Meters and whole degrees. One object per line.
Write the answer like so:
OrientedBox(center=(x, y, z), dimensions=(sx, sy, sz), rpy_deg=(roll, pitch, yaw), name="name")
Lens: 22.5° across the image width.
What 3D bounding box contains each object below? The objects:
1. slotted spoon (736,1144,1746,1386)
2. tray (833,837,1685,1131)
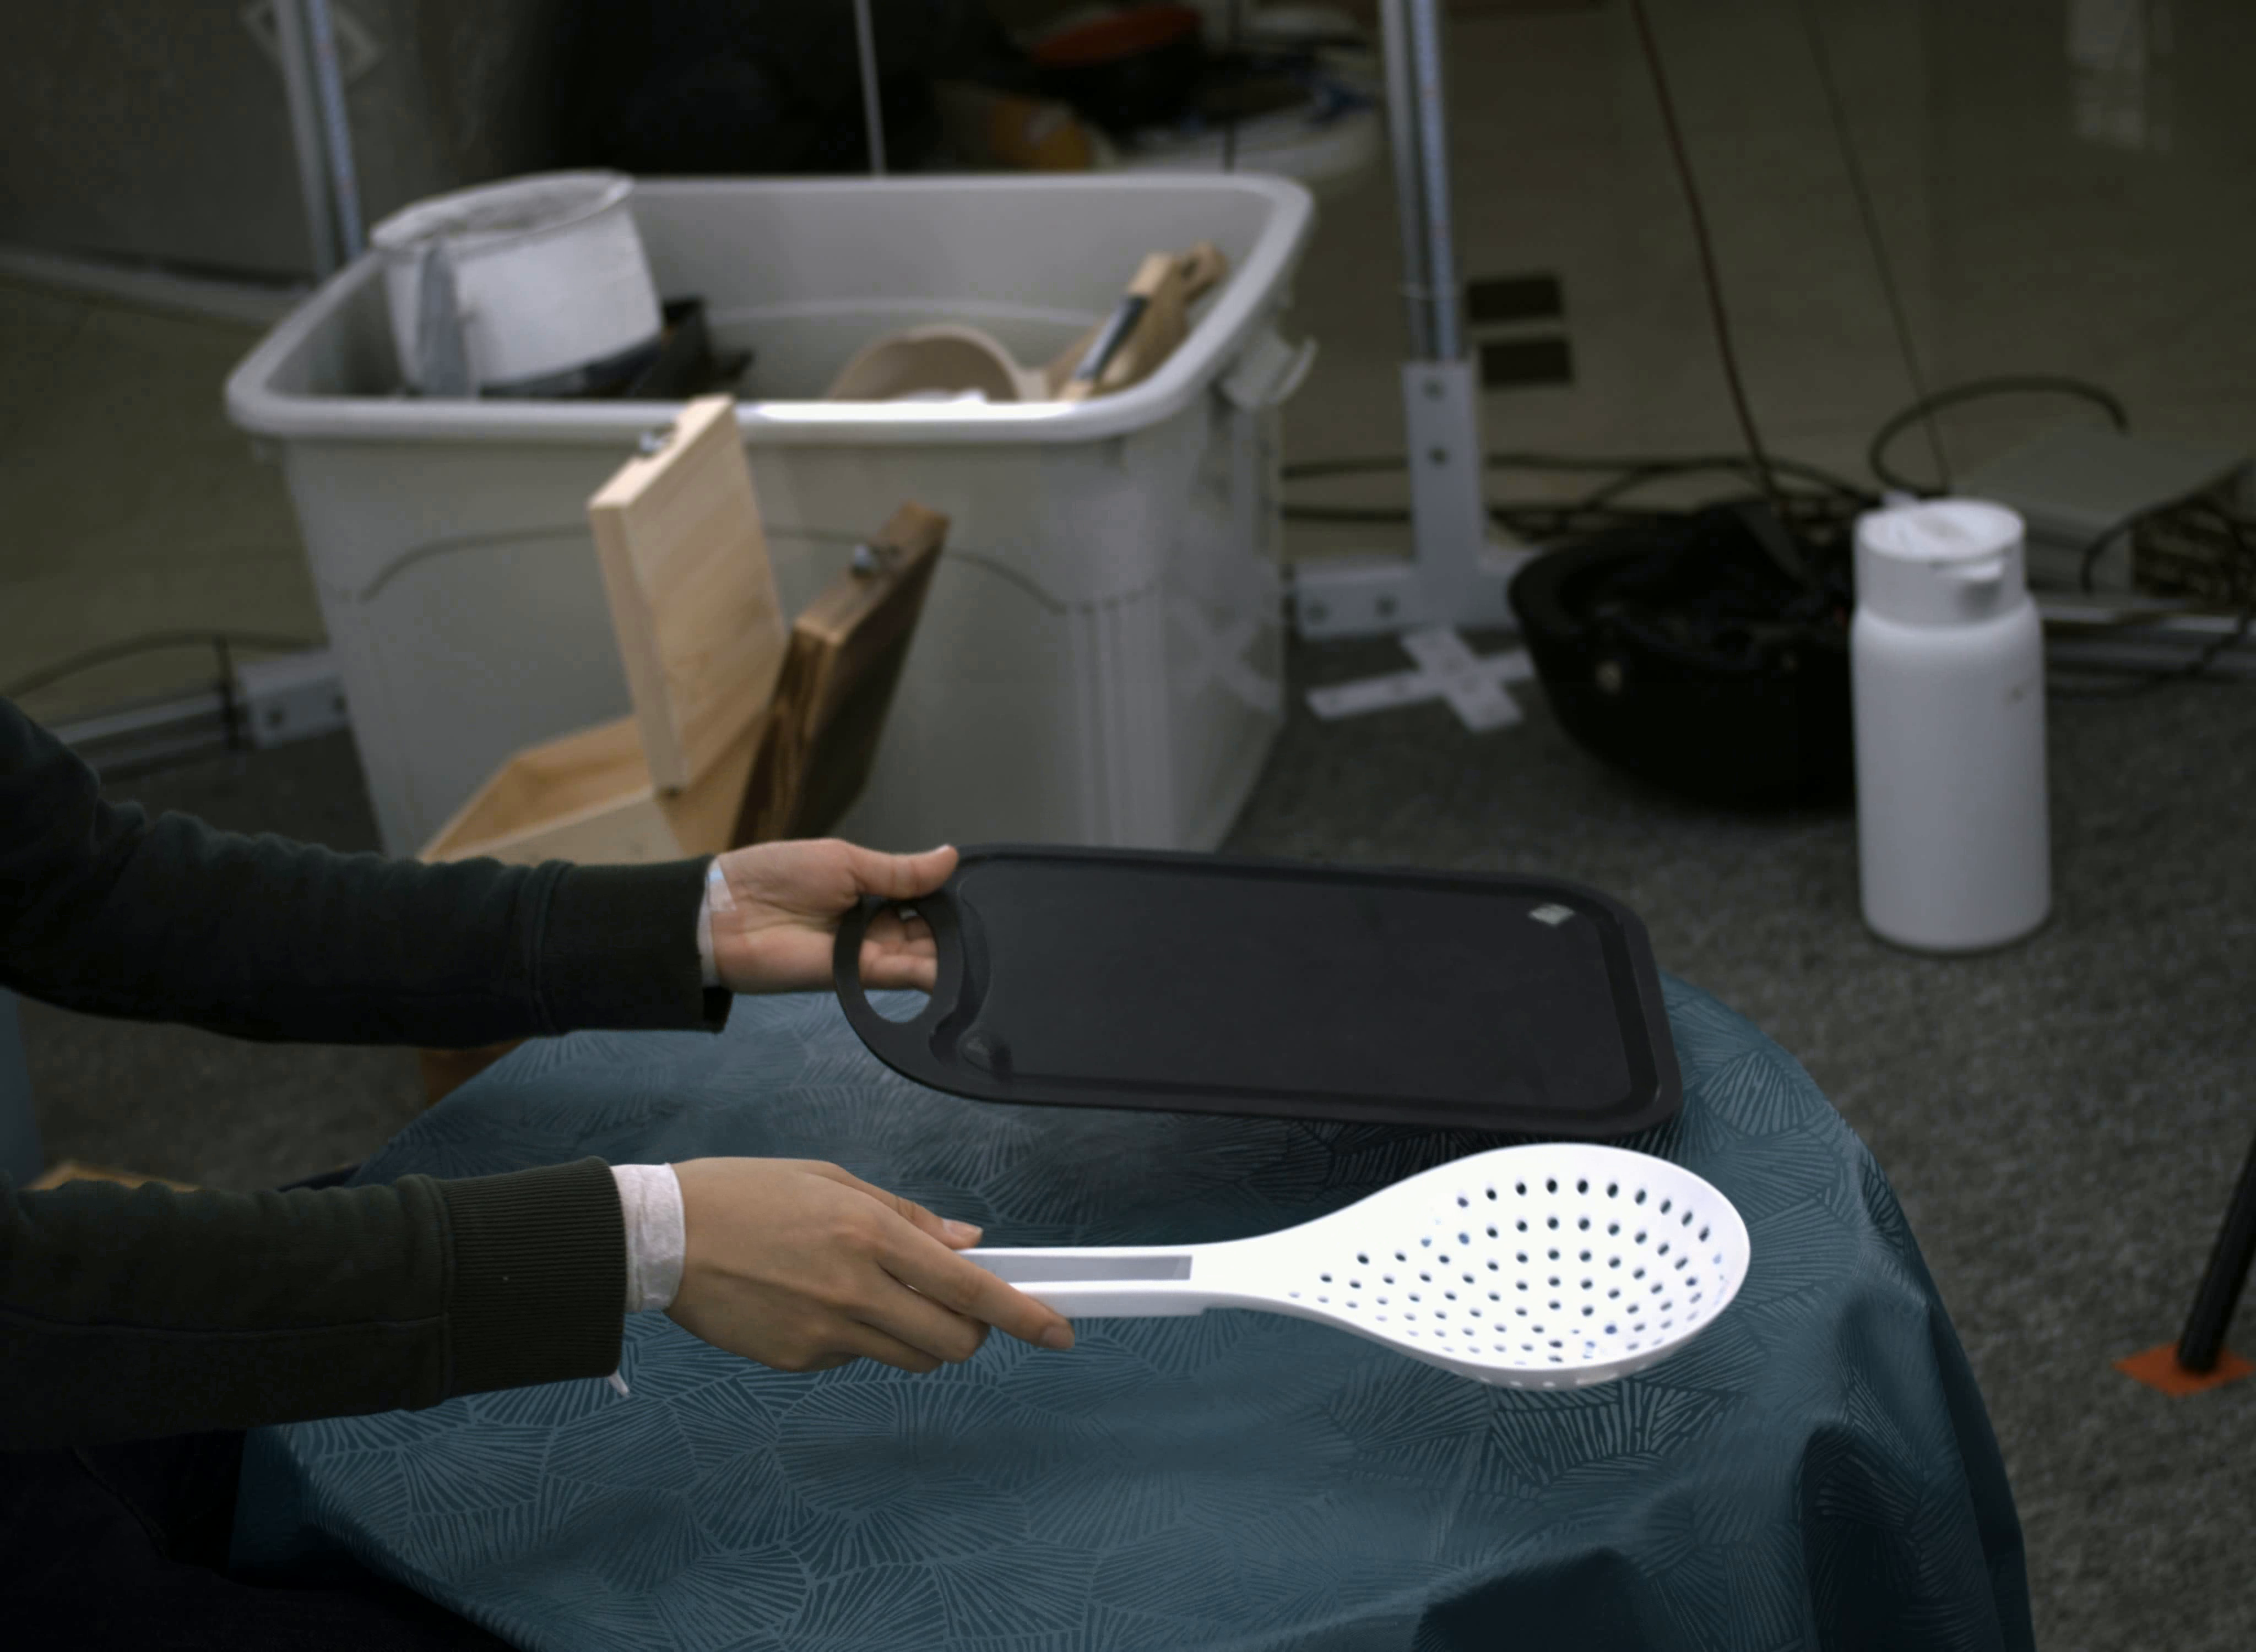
OrientedBox(center=(0.037, 0.156, 1.968), dimensions=(0.349, 0.046, 0.134), rpy_deg=(2, 30, 4), name="slotted spoon")
OrientedBox(center=(0.048, 0.058, 2.189), dimensions=(0.325, 0.010, 0.208), rpy_deg=(4, 27, -3), name="tray")
